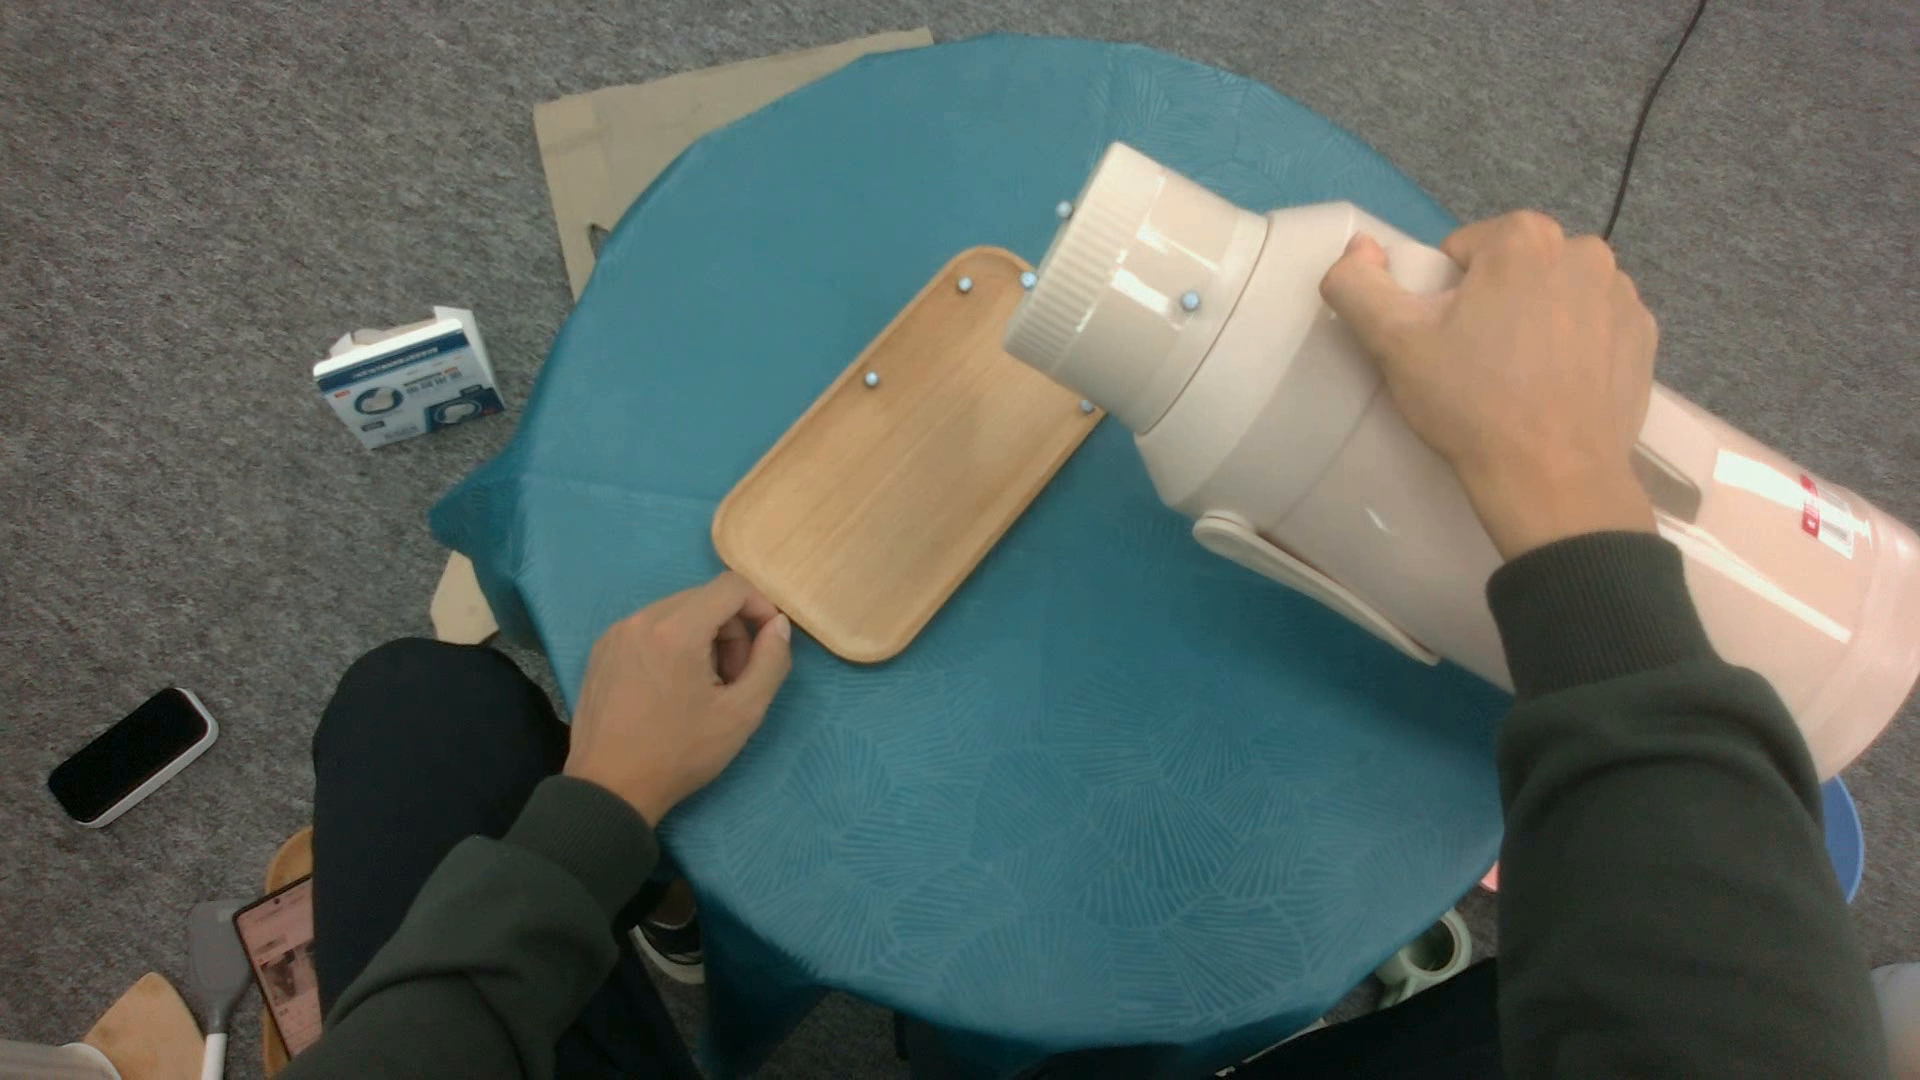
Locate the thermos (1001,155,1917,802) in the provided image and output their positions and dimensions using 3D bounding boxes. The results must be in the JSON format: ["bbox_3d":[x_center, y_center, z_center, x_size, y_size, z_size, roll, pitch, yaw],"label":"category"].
[{"bbox_3d":[0.222,-0.039,0.636,0.406,0.206,0.176,29,72,-4],"label":"thermos"}]

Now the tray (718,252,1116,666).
[{"bbox_3d":[-0.015,-0.050,0.775,0.130,0.023,0.251,38,72,11],"label":"tray"}]
